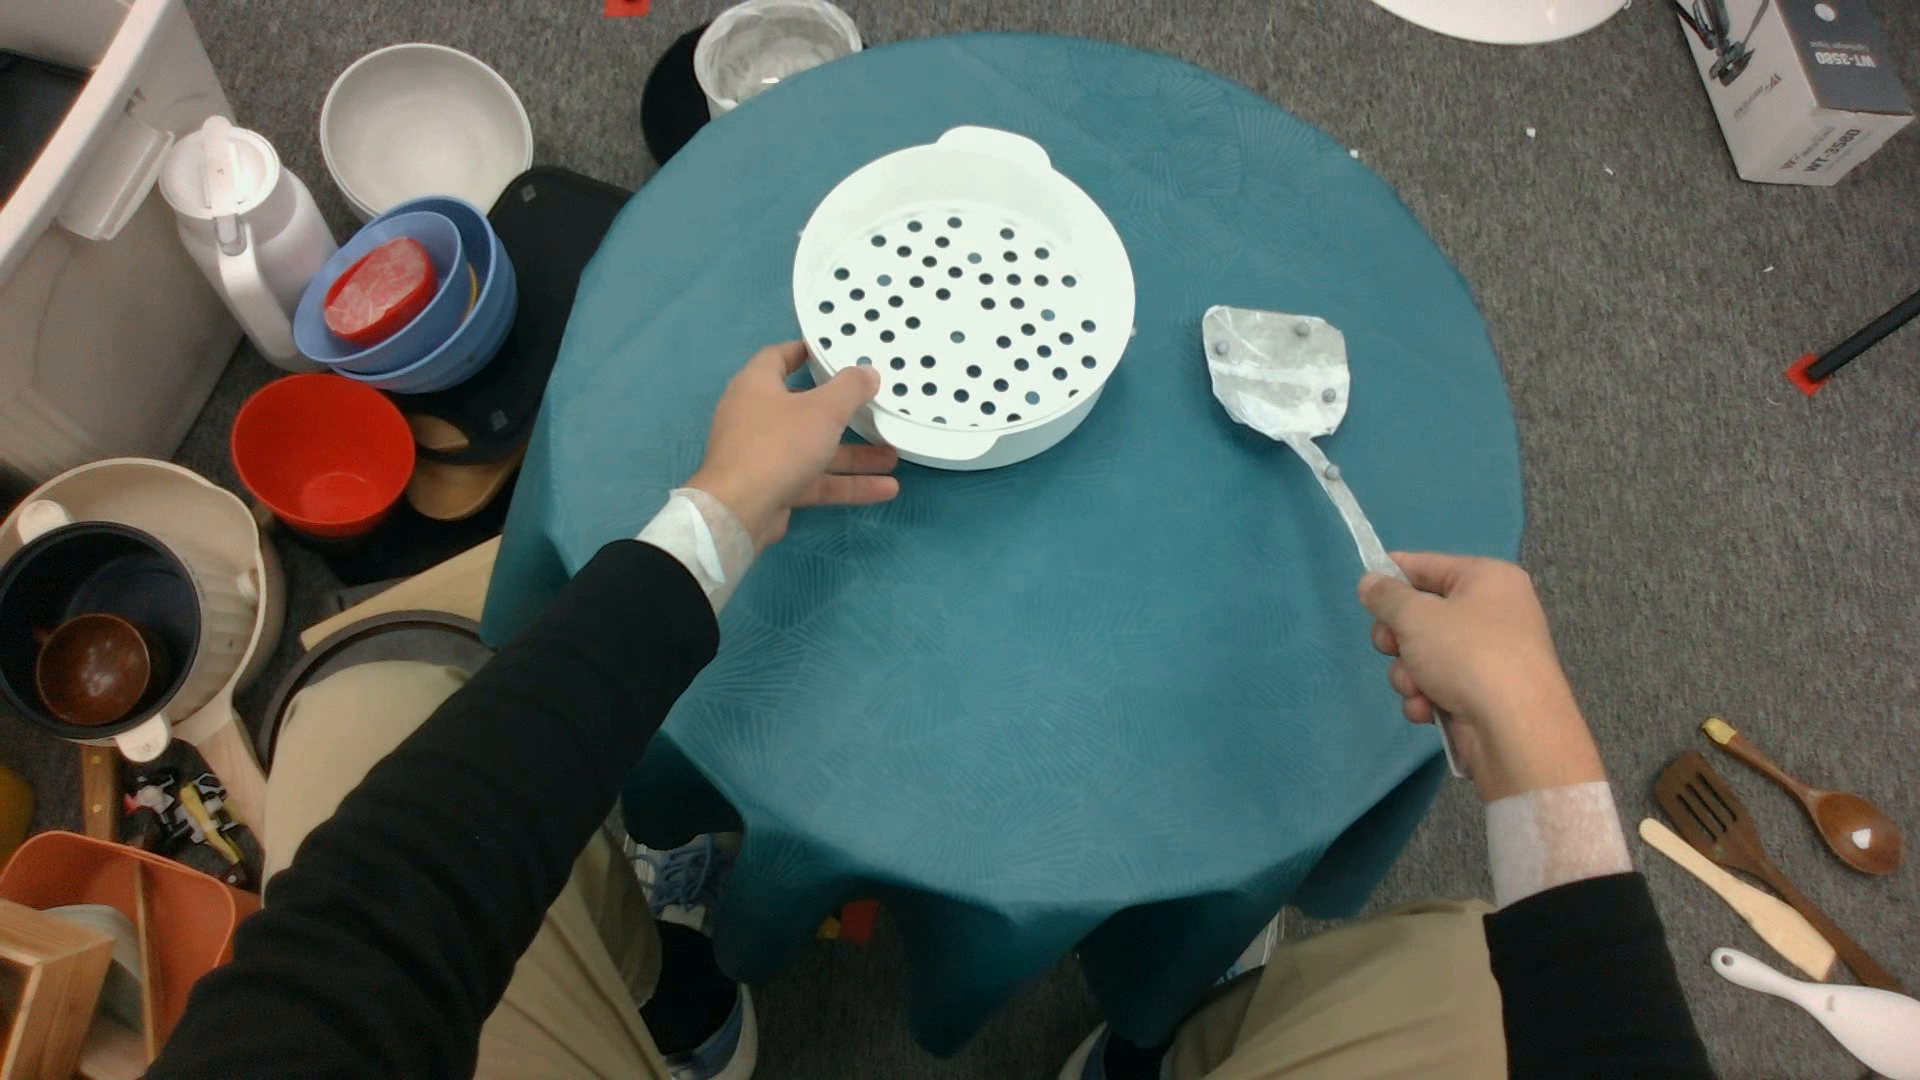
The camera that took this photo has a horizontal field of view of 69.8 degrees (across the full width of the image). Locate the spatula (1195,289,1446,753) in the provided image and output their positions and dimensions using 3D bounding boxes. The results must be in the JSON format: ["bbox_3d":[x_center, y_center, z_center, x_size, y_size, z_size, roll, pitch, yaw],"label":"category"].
[{"bbox_3d":[0.206,-0.030,0.759,0.099,0.044,0.366,9,36,-14],"label":"spatula"}]

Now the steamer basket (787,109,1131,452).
[{"bbox_3d":[-0.001,-0.150,0.833,0.202,0.069,0.231,12,67,0],"label":"steamer basket"}]
